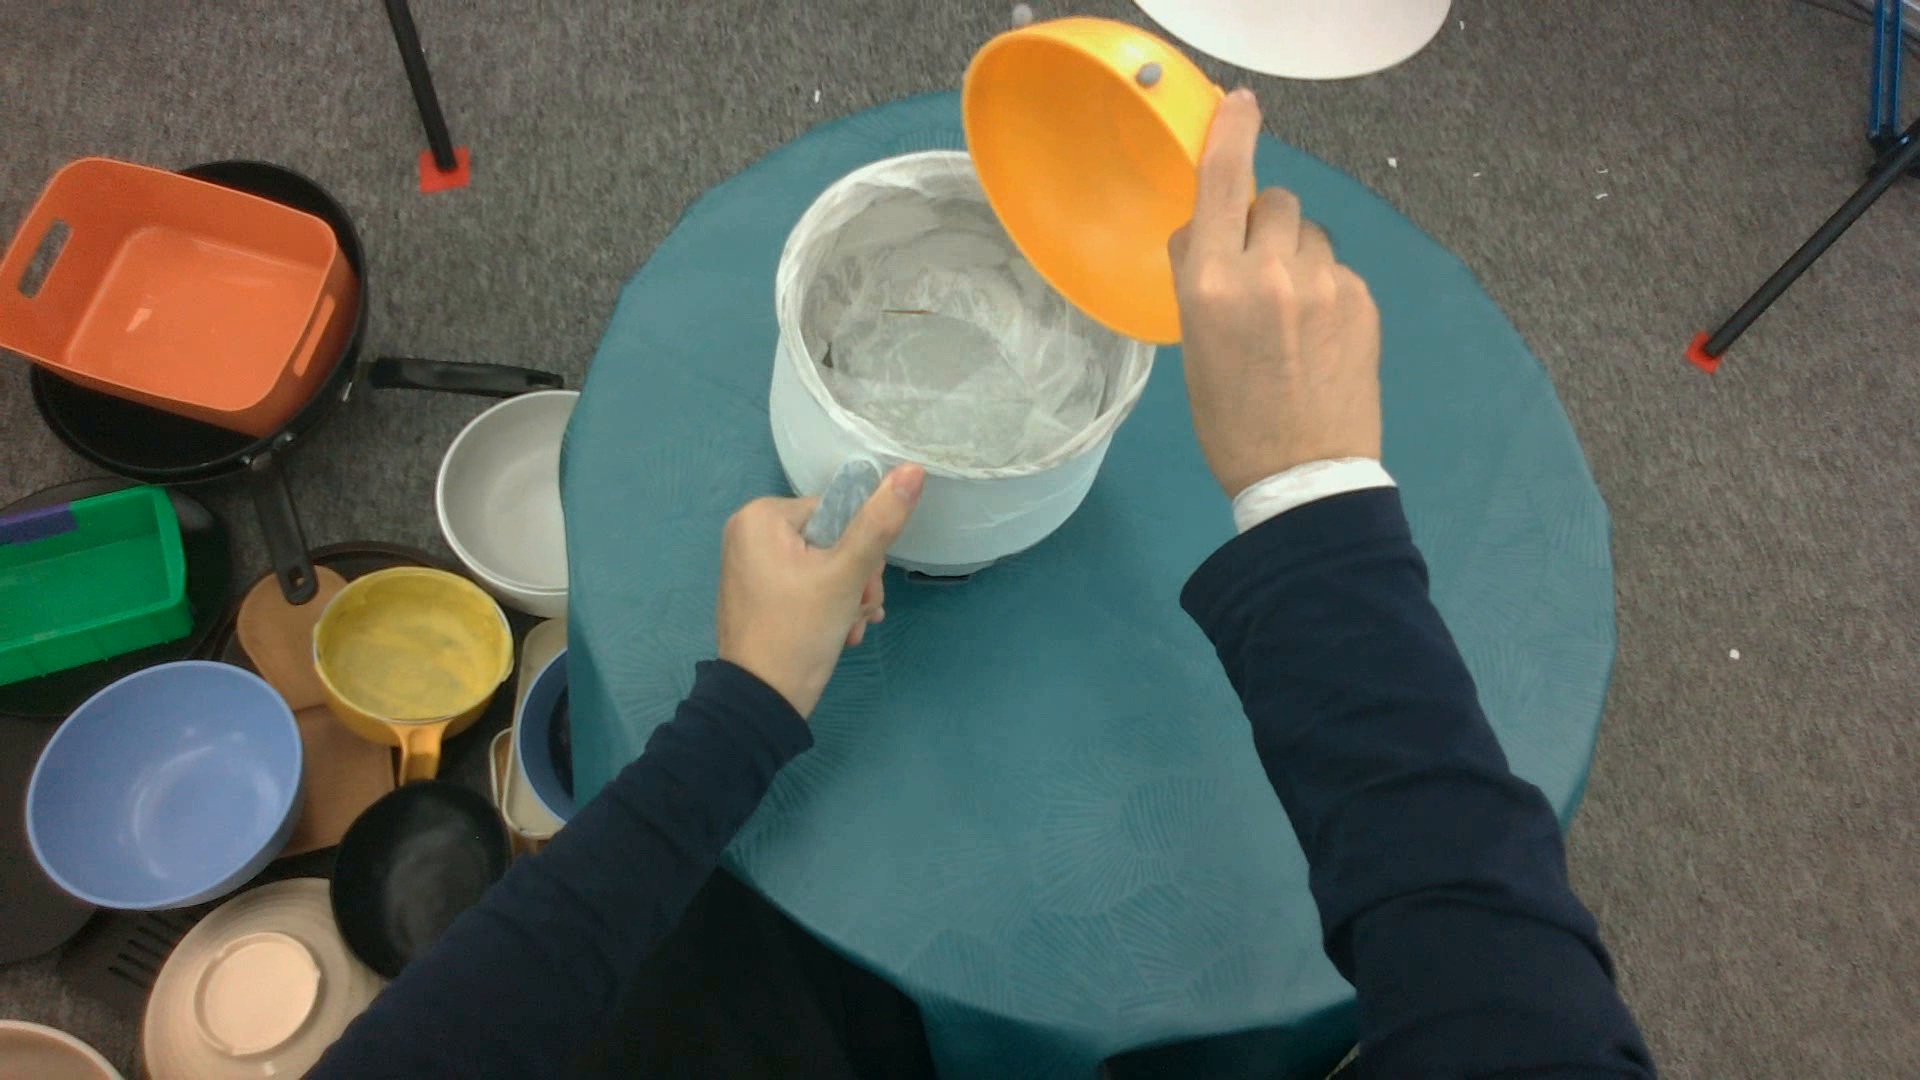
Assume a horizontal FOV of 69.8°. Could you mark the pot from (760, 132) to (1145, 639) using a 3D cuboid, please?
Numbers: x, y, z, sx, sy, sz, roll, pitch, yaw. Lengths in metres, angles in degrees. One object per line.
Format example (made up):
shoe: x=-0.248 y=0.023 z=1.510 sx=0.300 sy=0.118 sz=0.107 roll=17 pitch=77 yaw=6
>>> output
pot: x=-0.021 y=-0.065 z=0.664 sx=0.179 sy=0.136 sz=0.234 roll=26 pitch=65 yaw=4

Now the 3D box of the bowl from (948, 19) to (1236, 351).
bowl: x=0.064 y=-0.153 z=0.561 sx=0.060 sy=0.145 sz=0.145 roll=-39 pitch=75 yaw=-19
